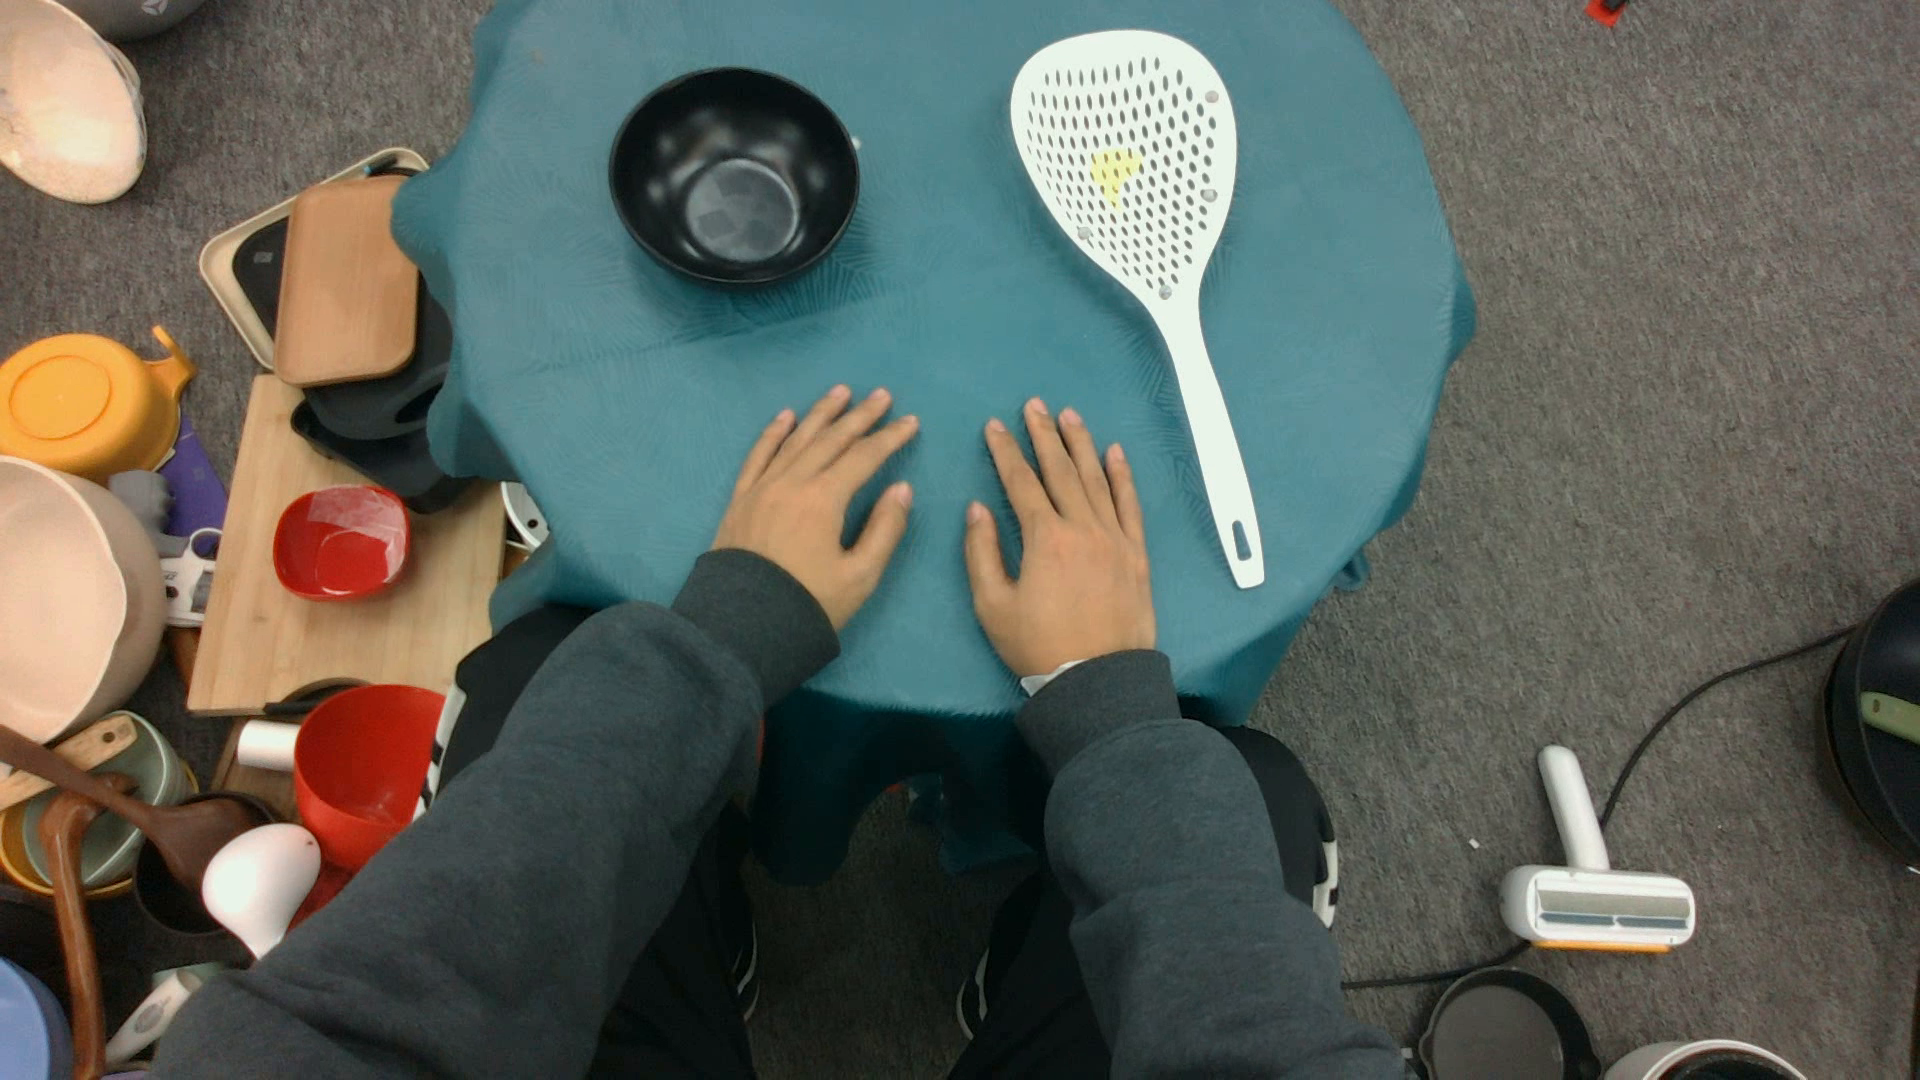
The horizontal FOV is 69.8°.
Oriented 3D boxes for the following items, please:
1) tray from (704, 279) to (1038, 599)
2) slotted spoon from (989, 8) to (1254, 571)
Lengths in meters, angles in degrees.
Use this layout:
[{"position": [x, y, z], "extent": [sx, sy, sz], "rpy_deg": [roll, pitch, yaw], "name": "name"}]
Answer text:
[{"position": [-0.088, -0.103, 1.360], "extent": [0.192, 0.027, 0.300], "rpy_deg": [-42, 81, -17], "name": "tray"}, {"position": [0.111, -0.150, 0.804], "extent": [0.137, 0.050, 0.348], "rpy_deg": [-12, 75, -14], "name": "slotted spoon"}]
